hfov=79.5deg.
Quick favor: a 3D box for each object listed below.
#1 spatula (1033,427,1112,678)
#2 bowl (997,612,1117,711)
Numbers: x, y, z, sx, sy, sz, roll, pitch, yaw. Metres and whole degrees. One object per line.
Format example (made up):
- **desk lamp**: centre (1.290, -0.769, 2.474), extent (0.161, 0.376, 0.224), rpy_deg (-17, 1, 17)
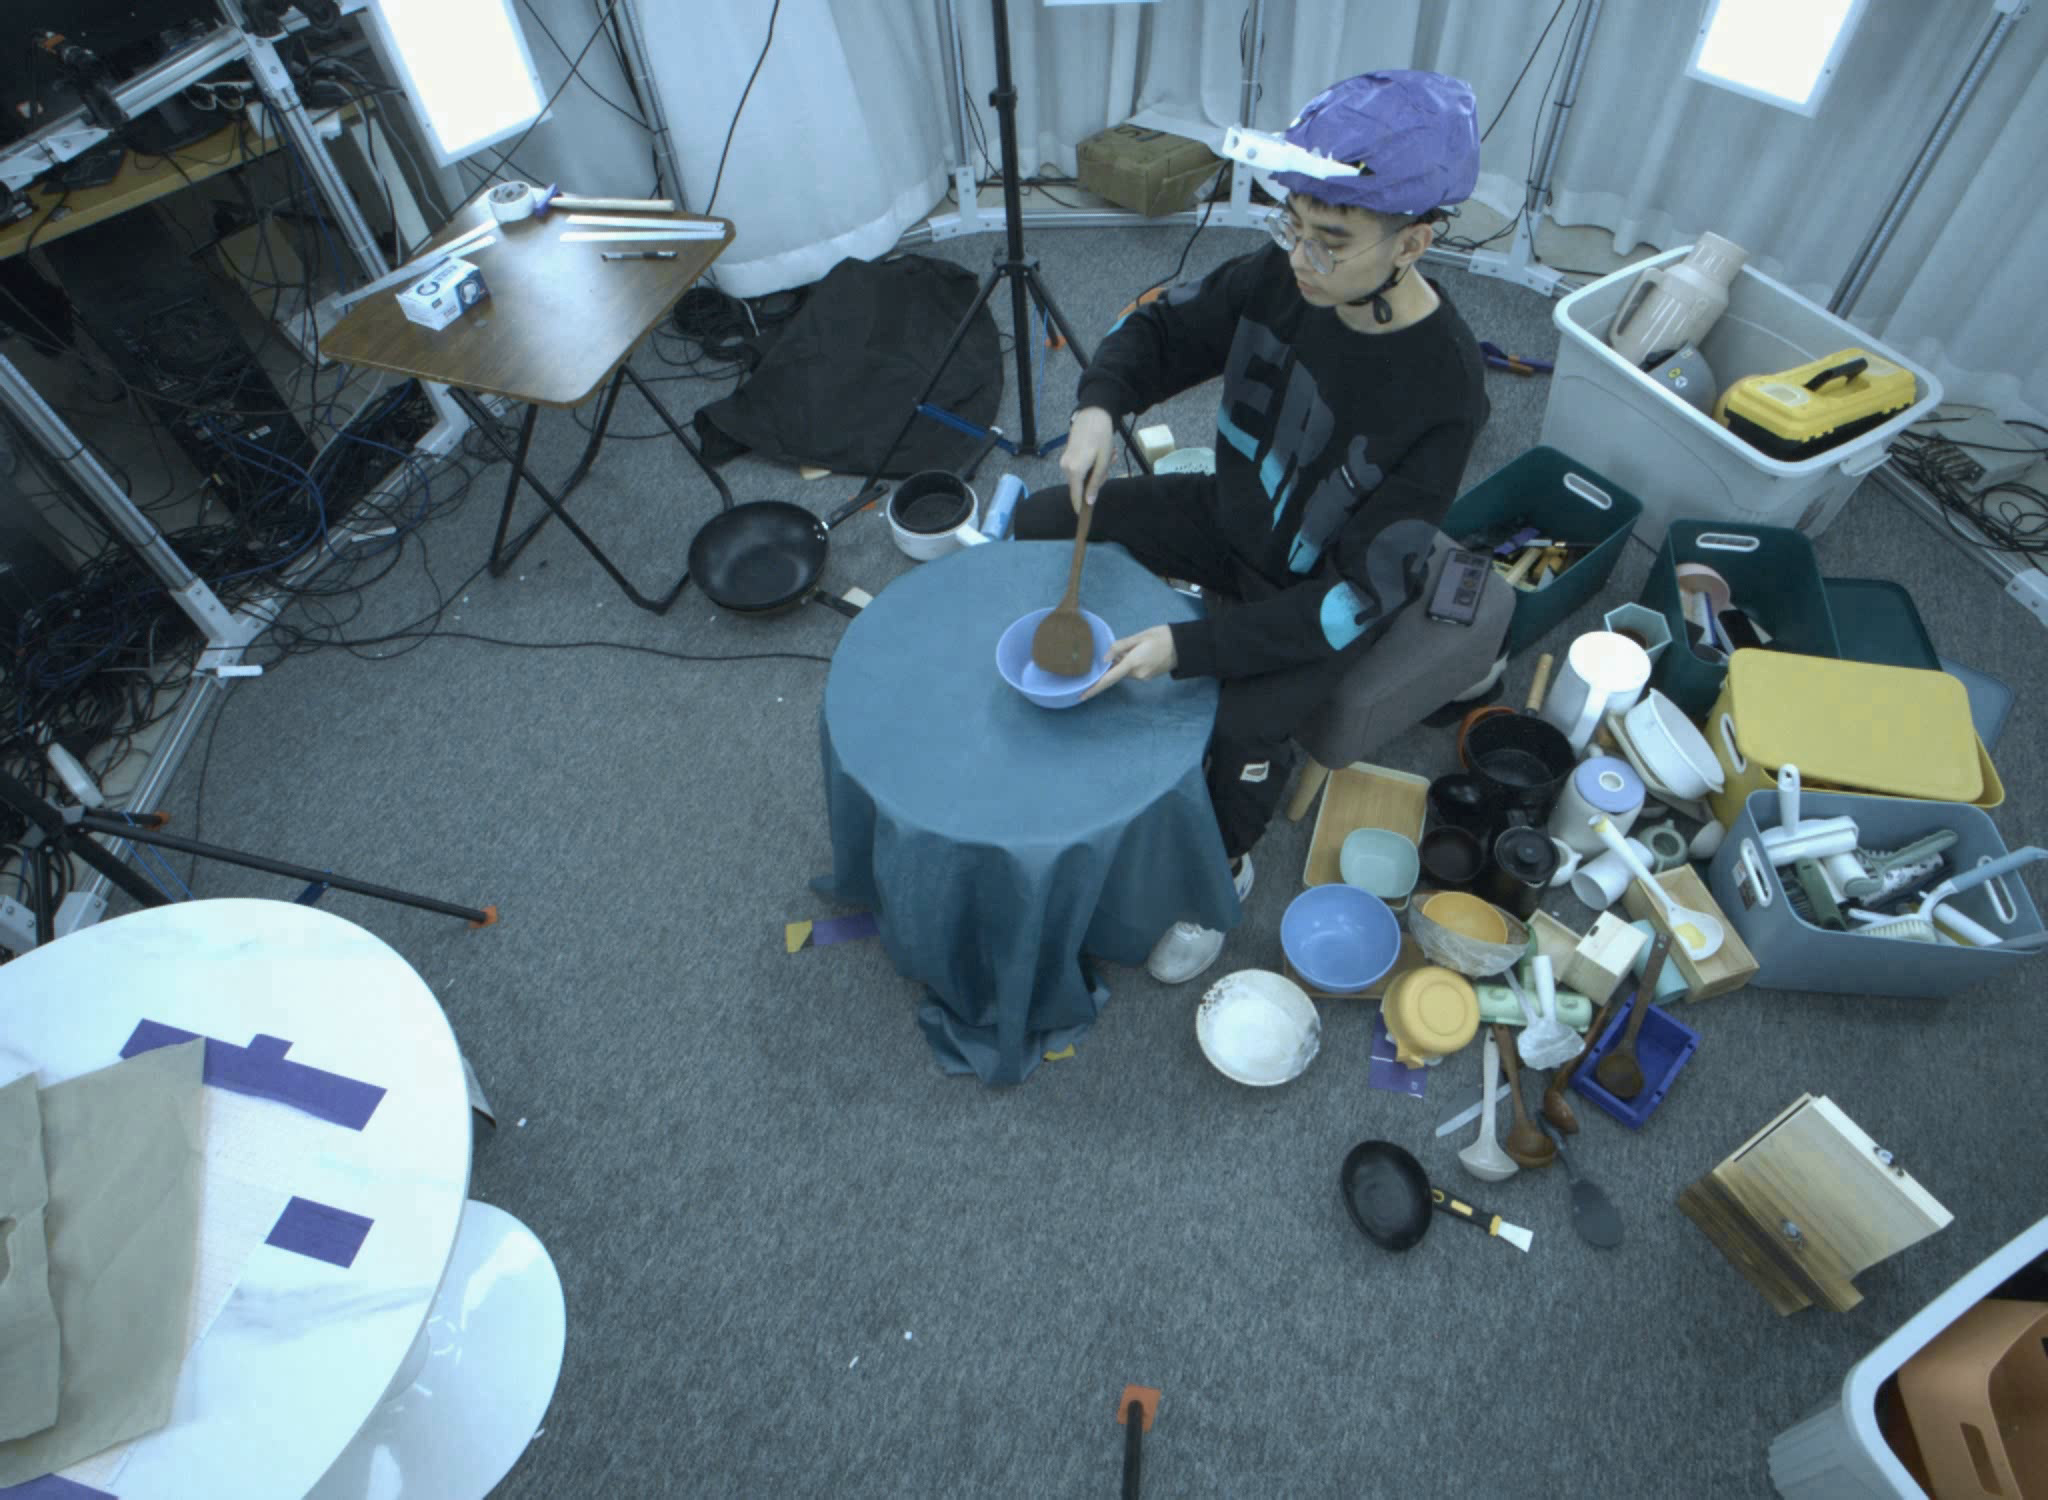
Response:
- **spatula**: centre (0.086, -0.298, 1.825), extent (0.097, 0.015, 0.386), rpy_deg (9, 90, -16)
- **bowl**: centre (0.051, -0.122, 1.829), extent (0.176, 0.071, 0.174), rpy_deg (-2, 52, 4)
